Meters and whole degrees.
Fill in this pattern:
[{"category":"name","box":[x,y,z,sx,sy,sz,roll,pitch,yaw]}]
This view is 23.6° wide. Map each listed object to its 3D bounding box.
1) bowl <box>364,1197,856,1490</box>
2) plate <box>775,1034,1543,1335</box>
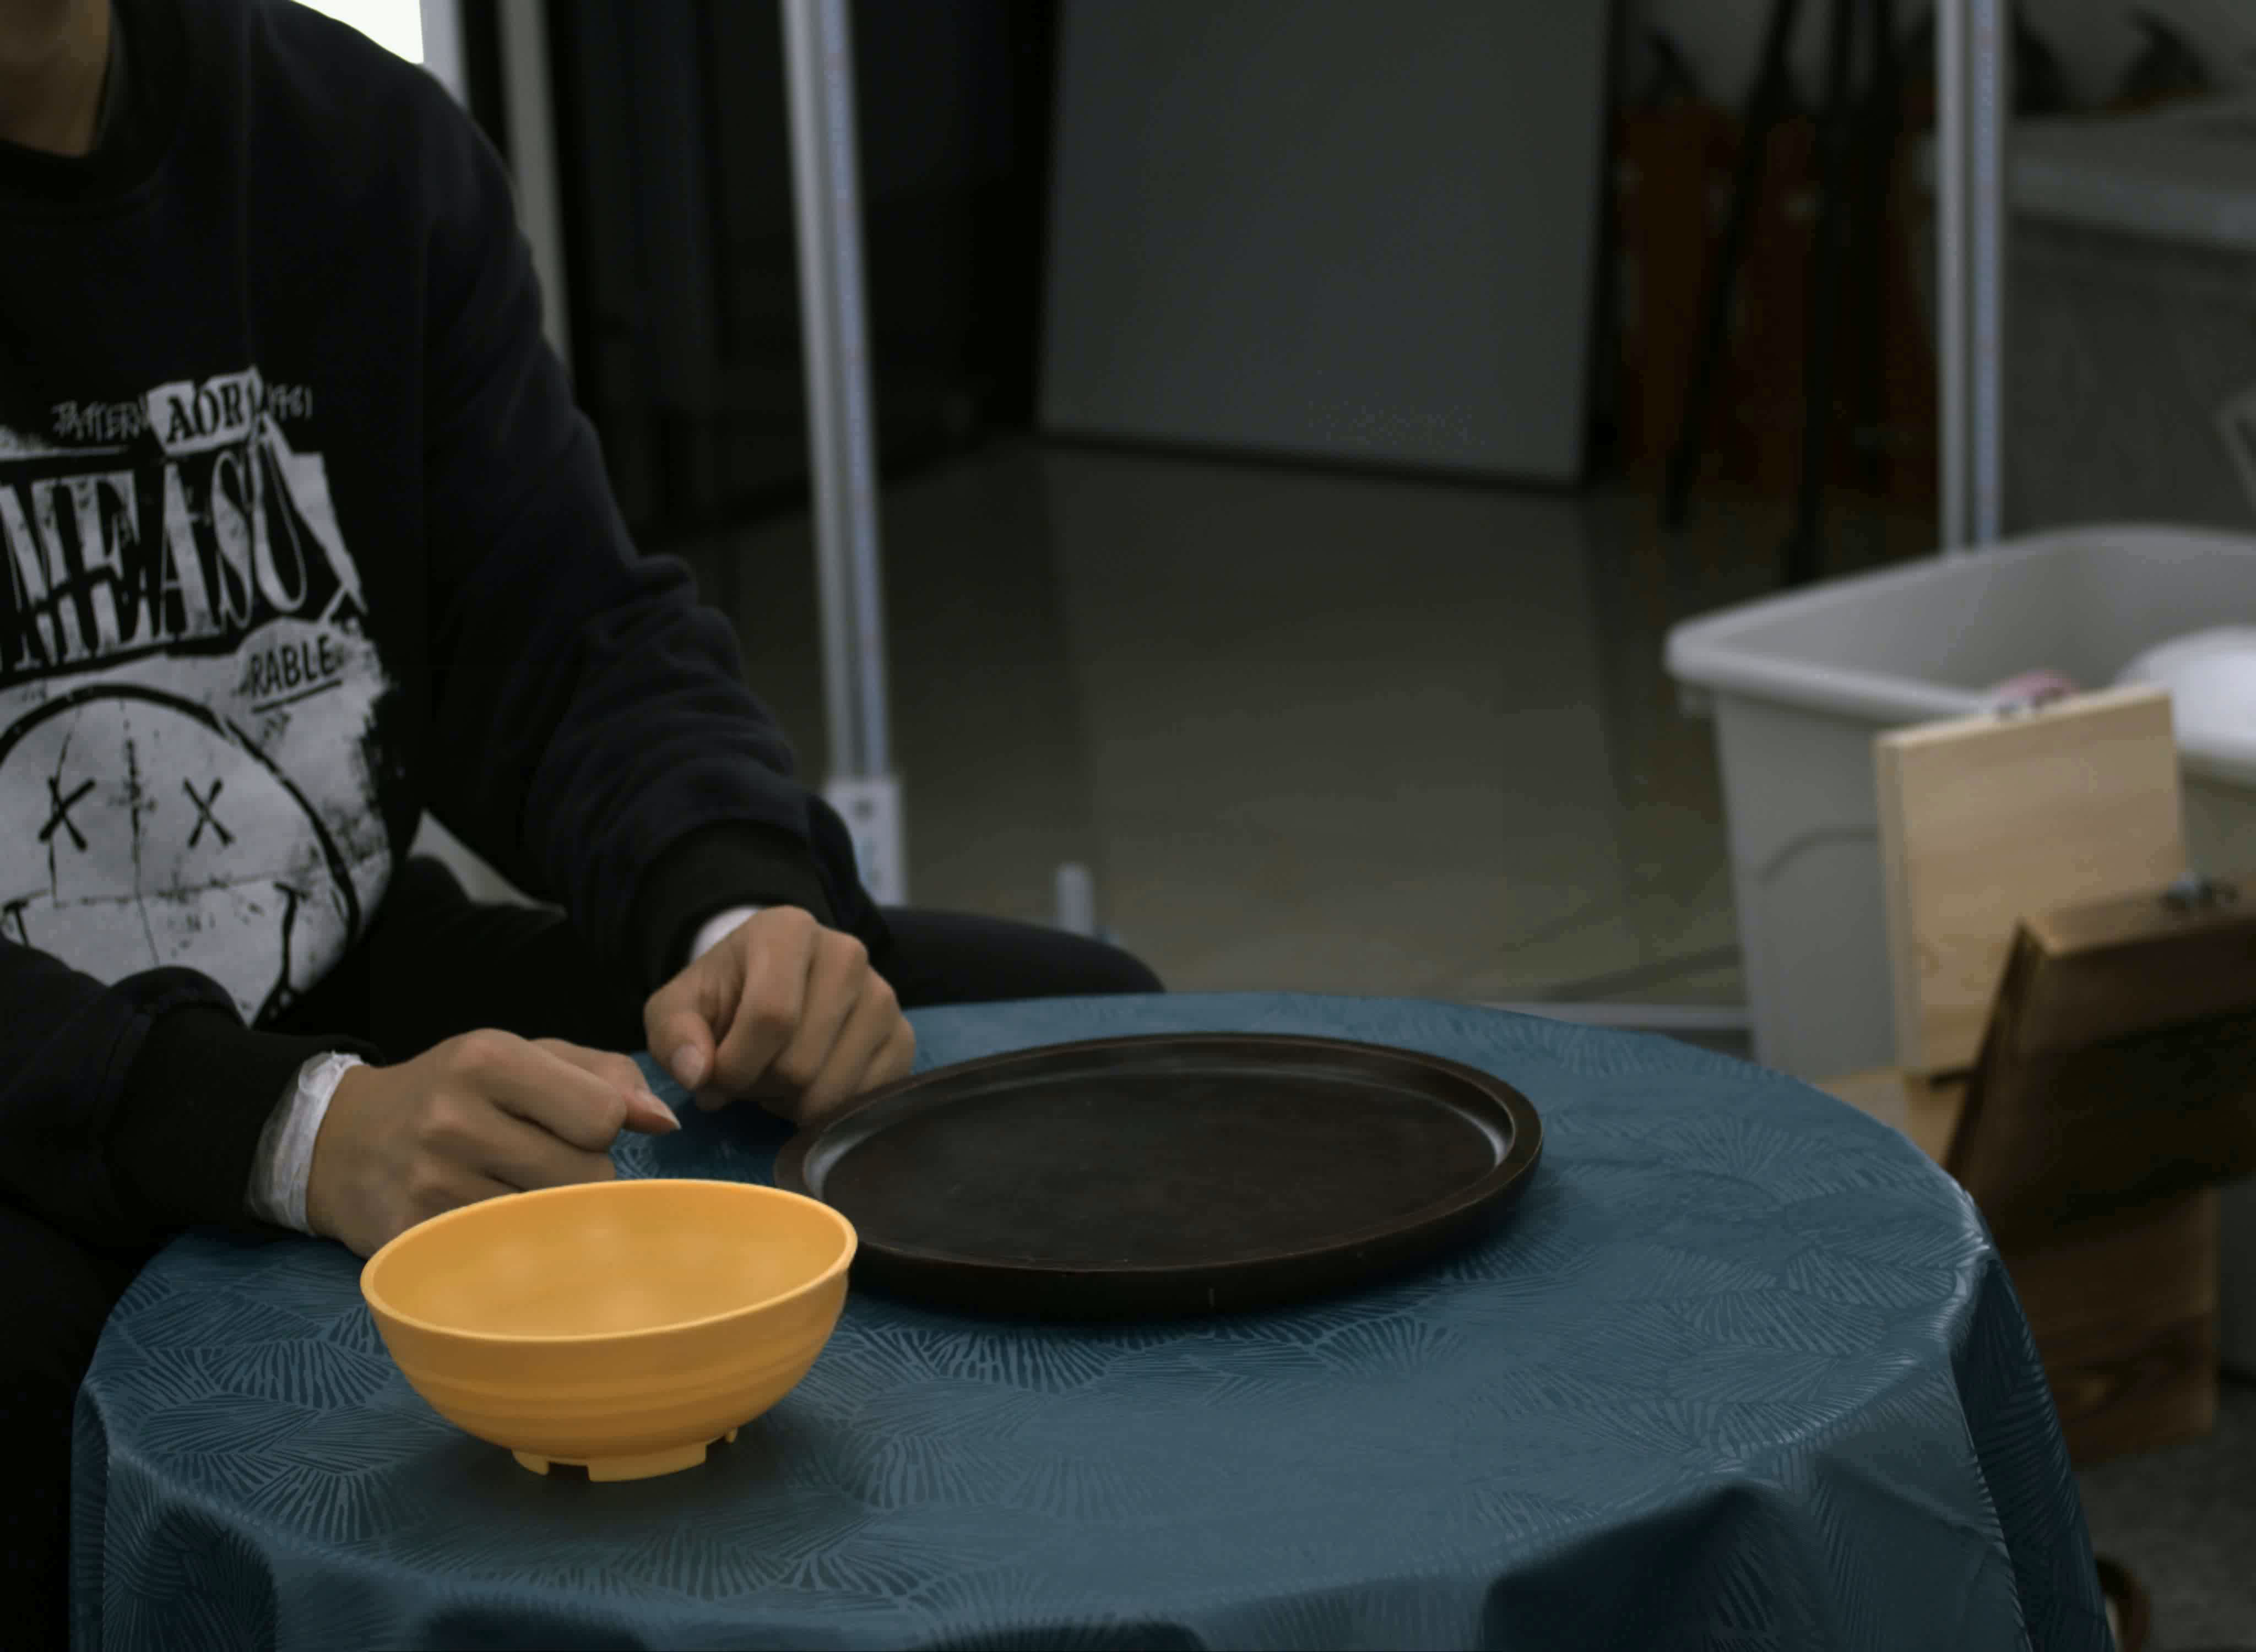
[{"category":"bowl","box":[-0.148,0.154,1.565,0.143,0.061,0.145,-4,11,0]},{"category":"plate","box":[0.011,0.114,1.752,0.251,0.029,0.255,-6,14,1]}]
